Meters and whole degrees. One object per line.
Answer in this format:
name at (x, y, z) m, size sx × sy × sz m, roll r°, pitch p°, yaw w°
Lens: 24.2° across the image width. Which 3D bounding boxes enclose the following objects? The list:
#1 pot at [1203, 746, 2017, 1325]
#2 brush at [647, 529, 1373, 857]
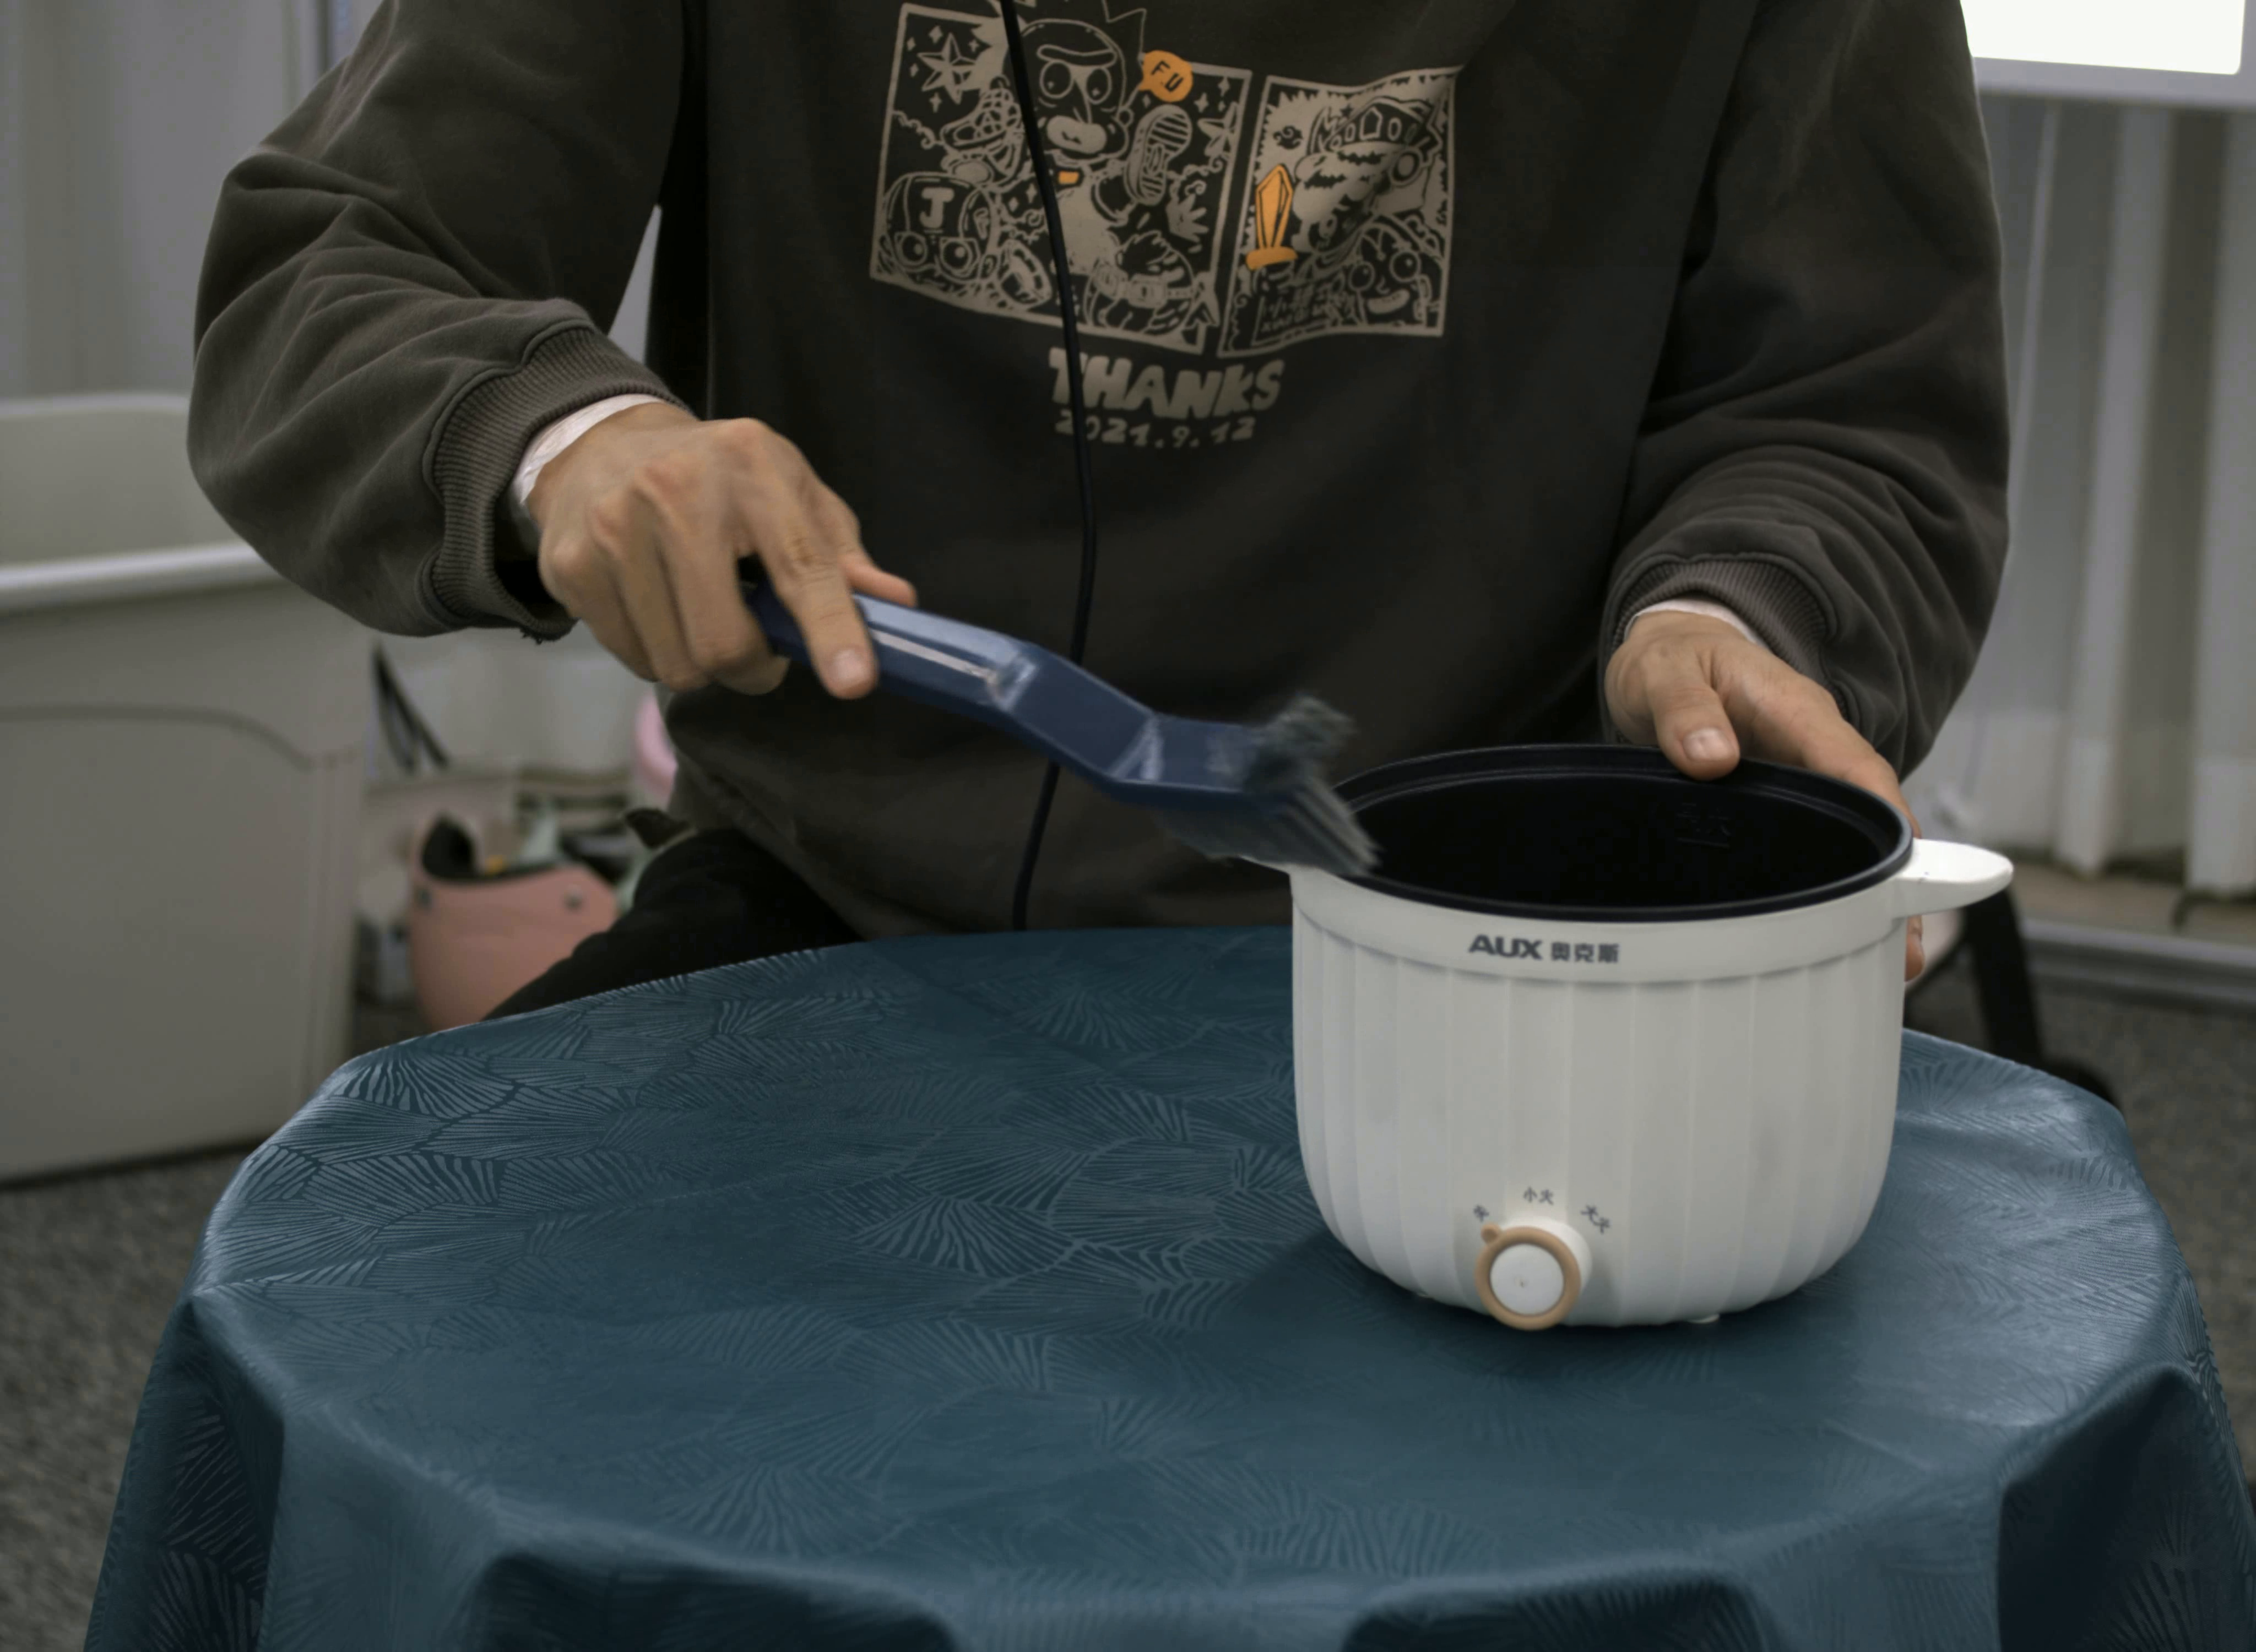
pot at (0.138, 0.064, 1.549) m, size 0.238 × 0.143 × 0.190 m, roll 3°, pitch 13°, yaw 13°
brush at (-0.040, -0.049, 1.503) m, size 0.269 × 0.097 × 0.033 m, roll 23°, pitch 67°, yaw 31°
